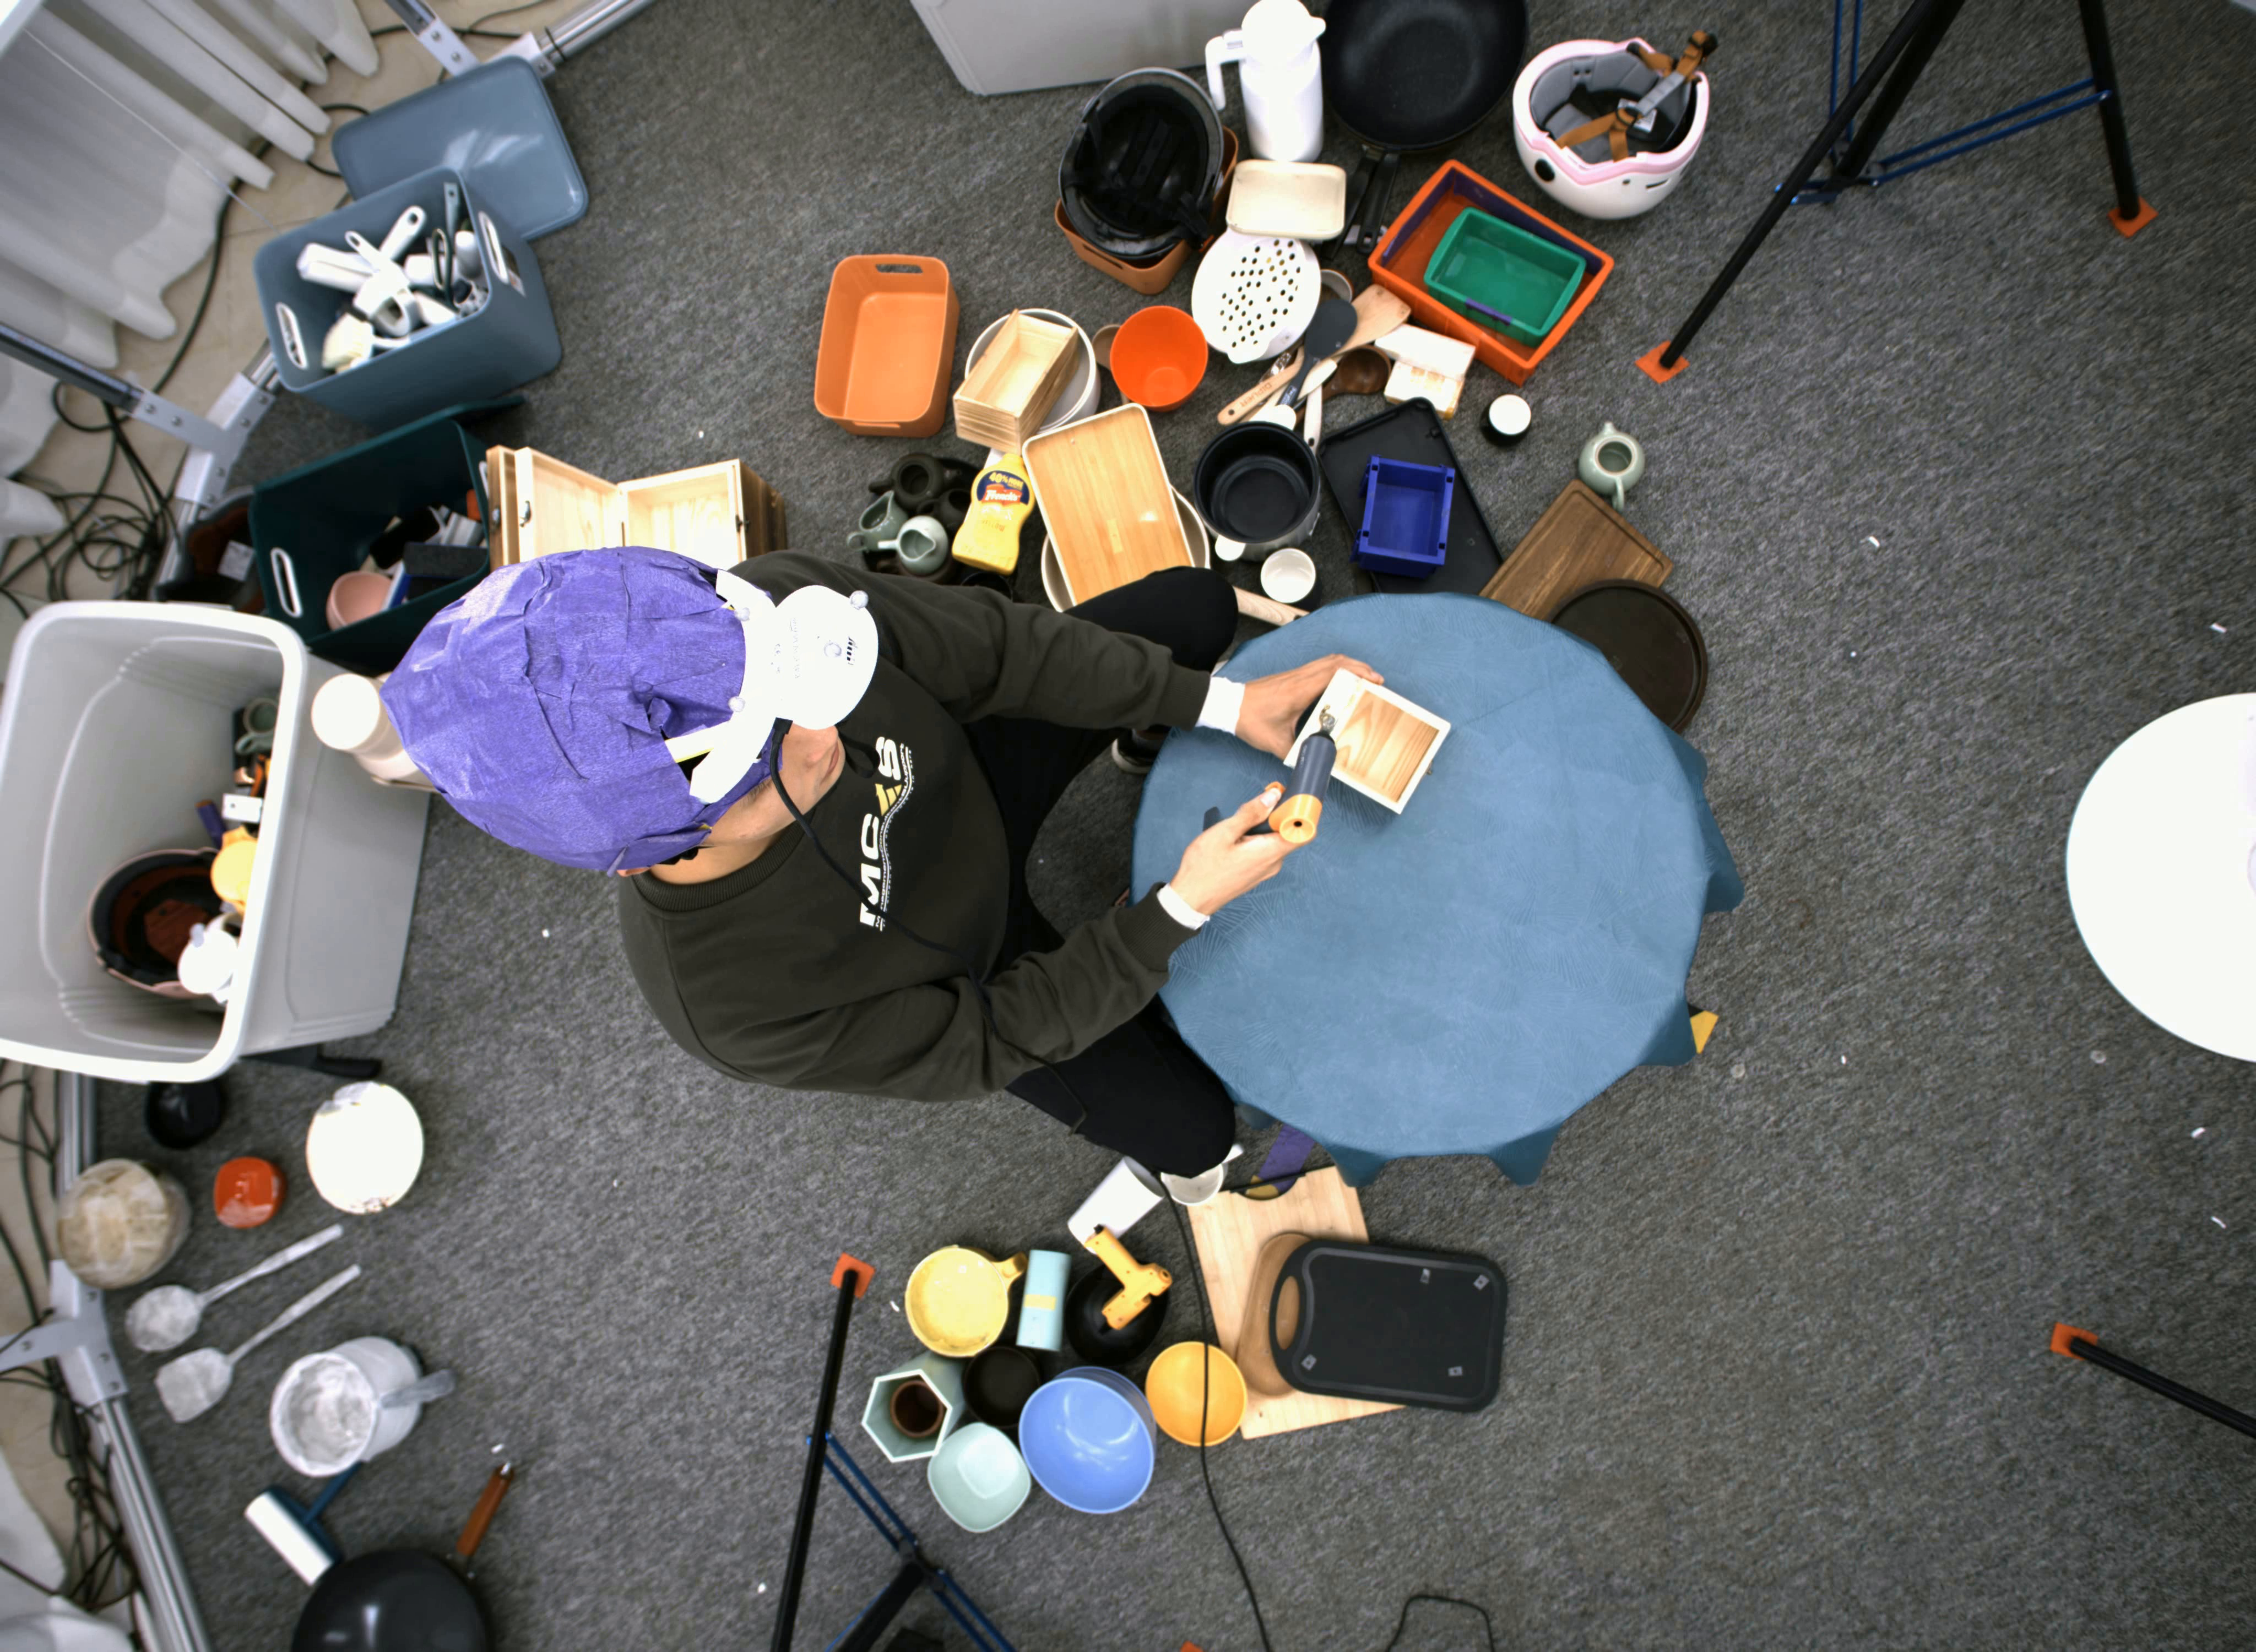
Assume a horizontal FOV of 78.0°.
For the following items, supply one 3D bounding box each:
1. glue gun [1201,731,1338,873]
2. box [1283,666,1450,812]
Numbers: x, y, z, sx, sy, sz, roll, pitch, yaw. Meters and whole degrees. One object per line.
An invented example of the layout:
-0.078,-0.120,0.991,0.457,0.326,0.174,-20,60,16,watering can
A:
0.135,-0.023,1.277,0.142,0.115,0.041,-34,118,31,glue gun
0.243,-0.086,1.370,0.134,0.182,0.104,30,102,8,box
